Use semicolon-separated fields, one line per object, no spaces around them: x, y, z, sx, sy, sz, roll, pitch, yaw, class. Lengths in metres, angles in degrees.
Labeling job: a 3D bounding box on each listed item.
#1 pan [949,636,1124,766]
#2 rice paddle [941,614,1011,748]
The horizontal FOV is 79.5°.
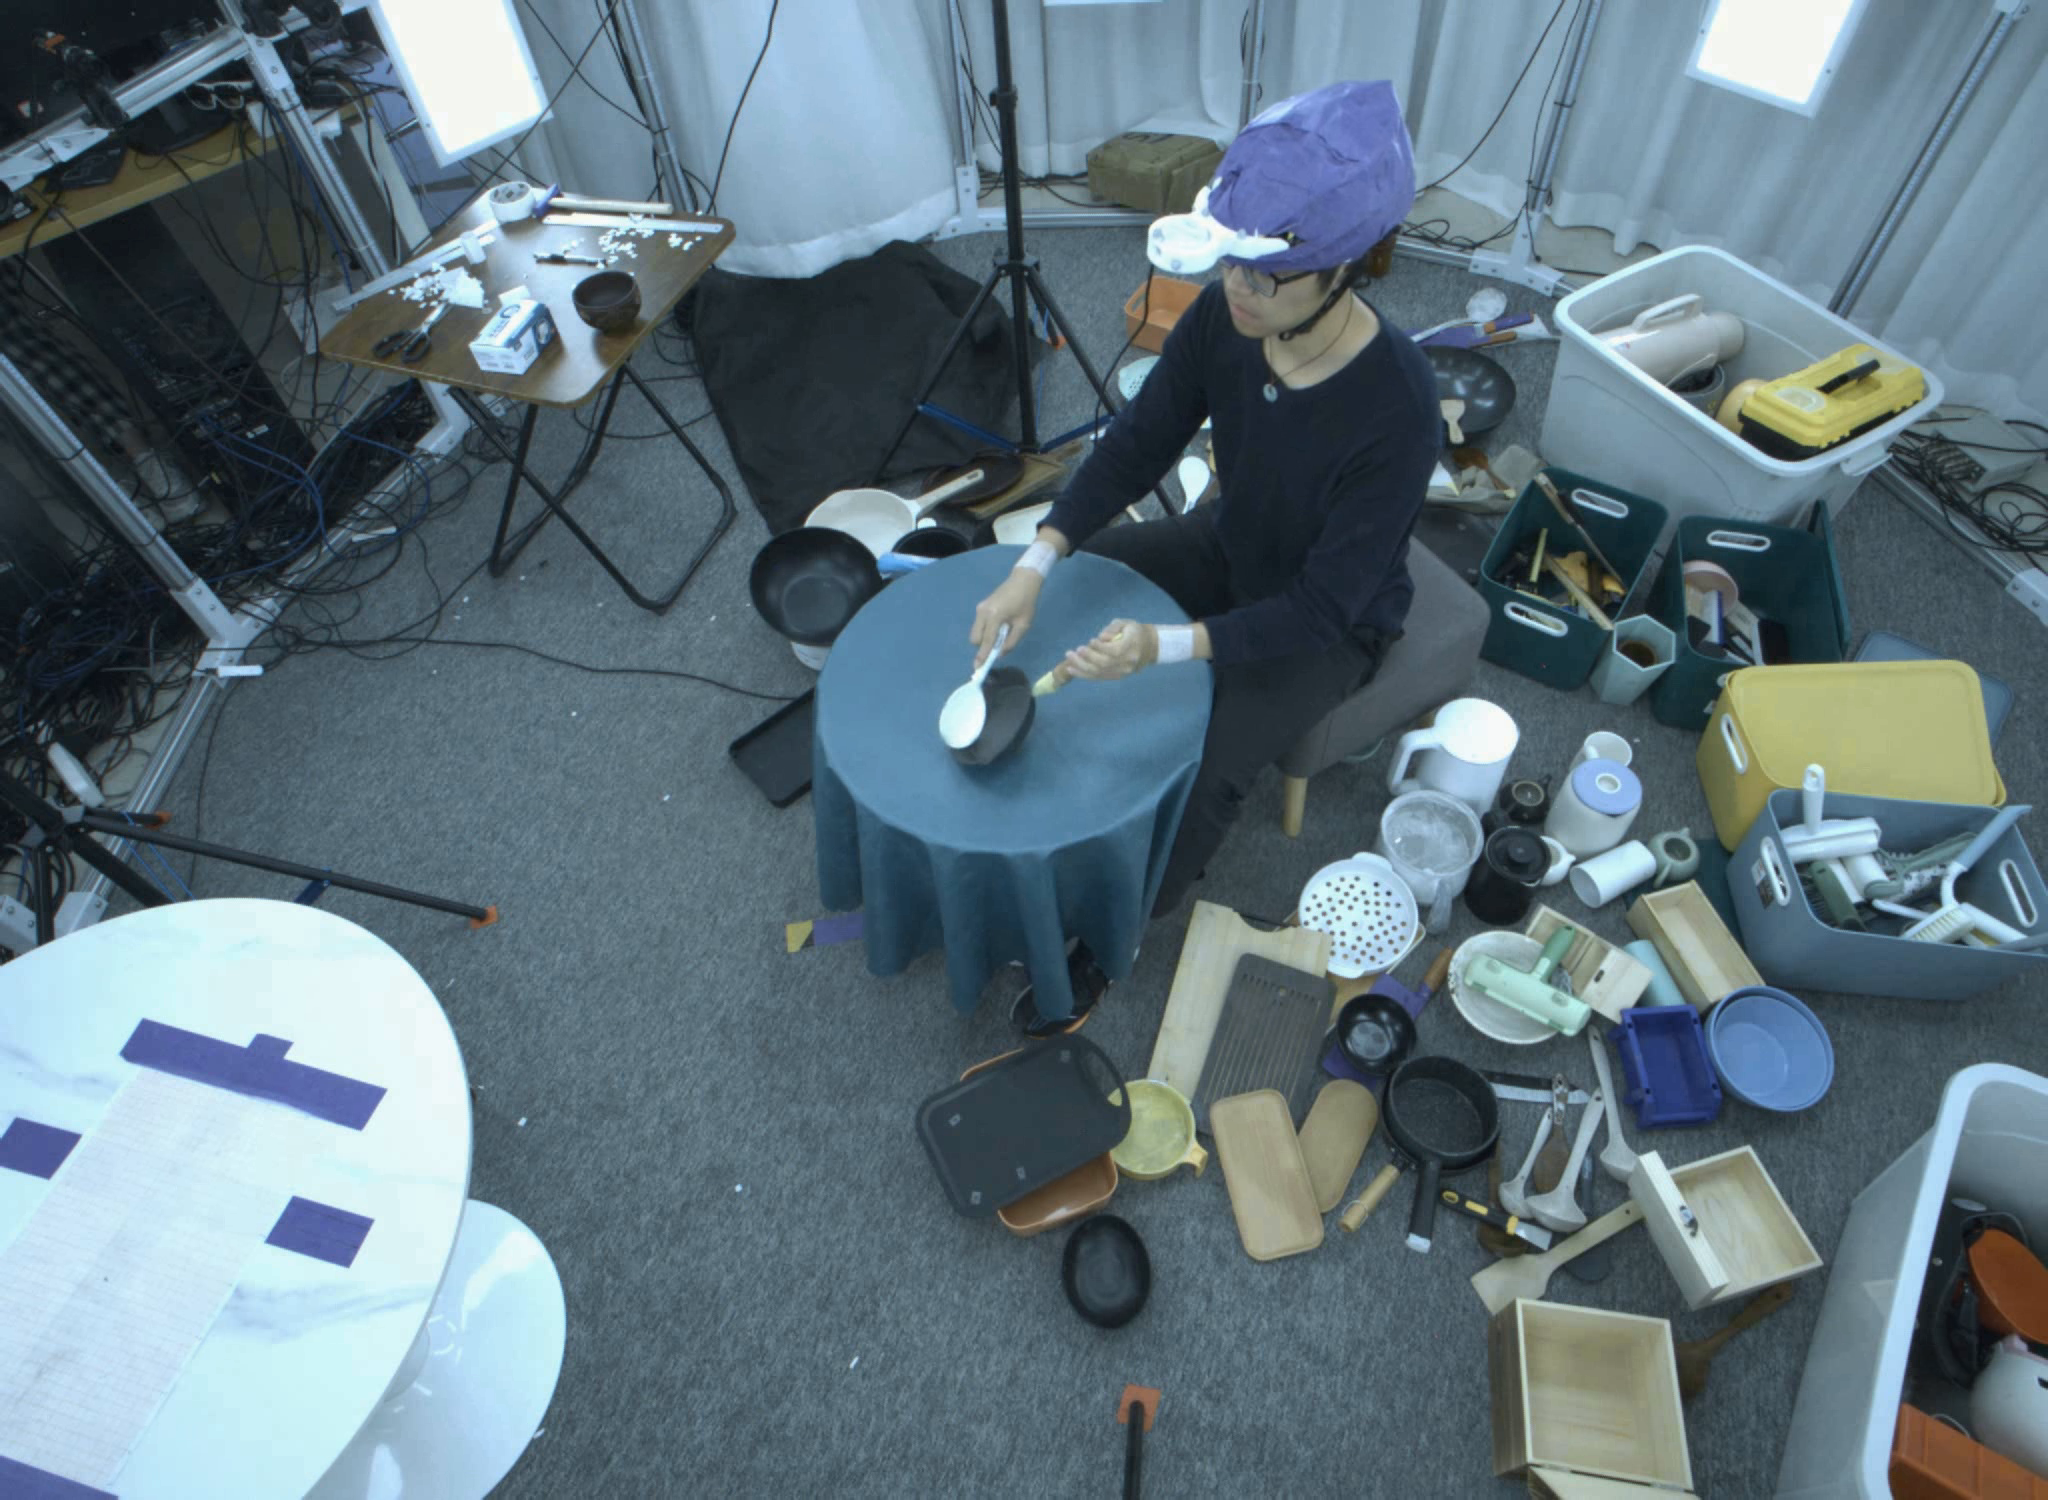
0.018;-0.077;1.708;0.320;0.051;0.167;-27;47;33;pan
-0.067;-0.099;1.785;0.070;0.029;0.205;25;79;-30;rice paddle
